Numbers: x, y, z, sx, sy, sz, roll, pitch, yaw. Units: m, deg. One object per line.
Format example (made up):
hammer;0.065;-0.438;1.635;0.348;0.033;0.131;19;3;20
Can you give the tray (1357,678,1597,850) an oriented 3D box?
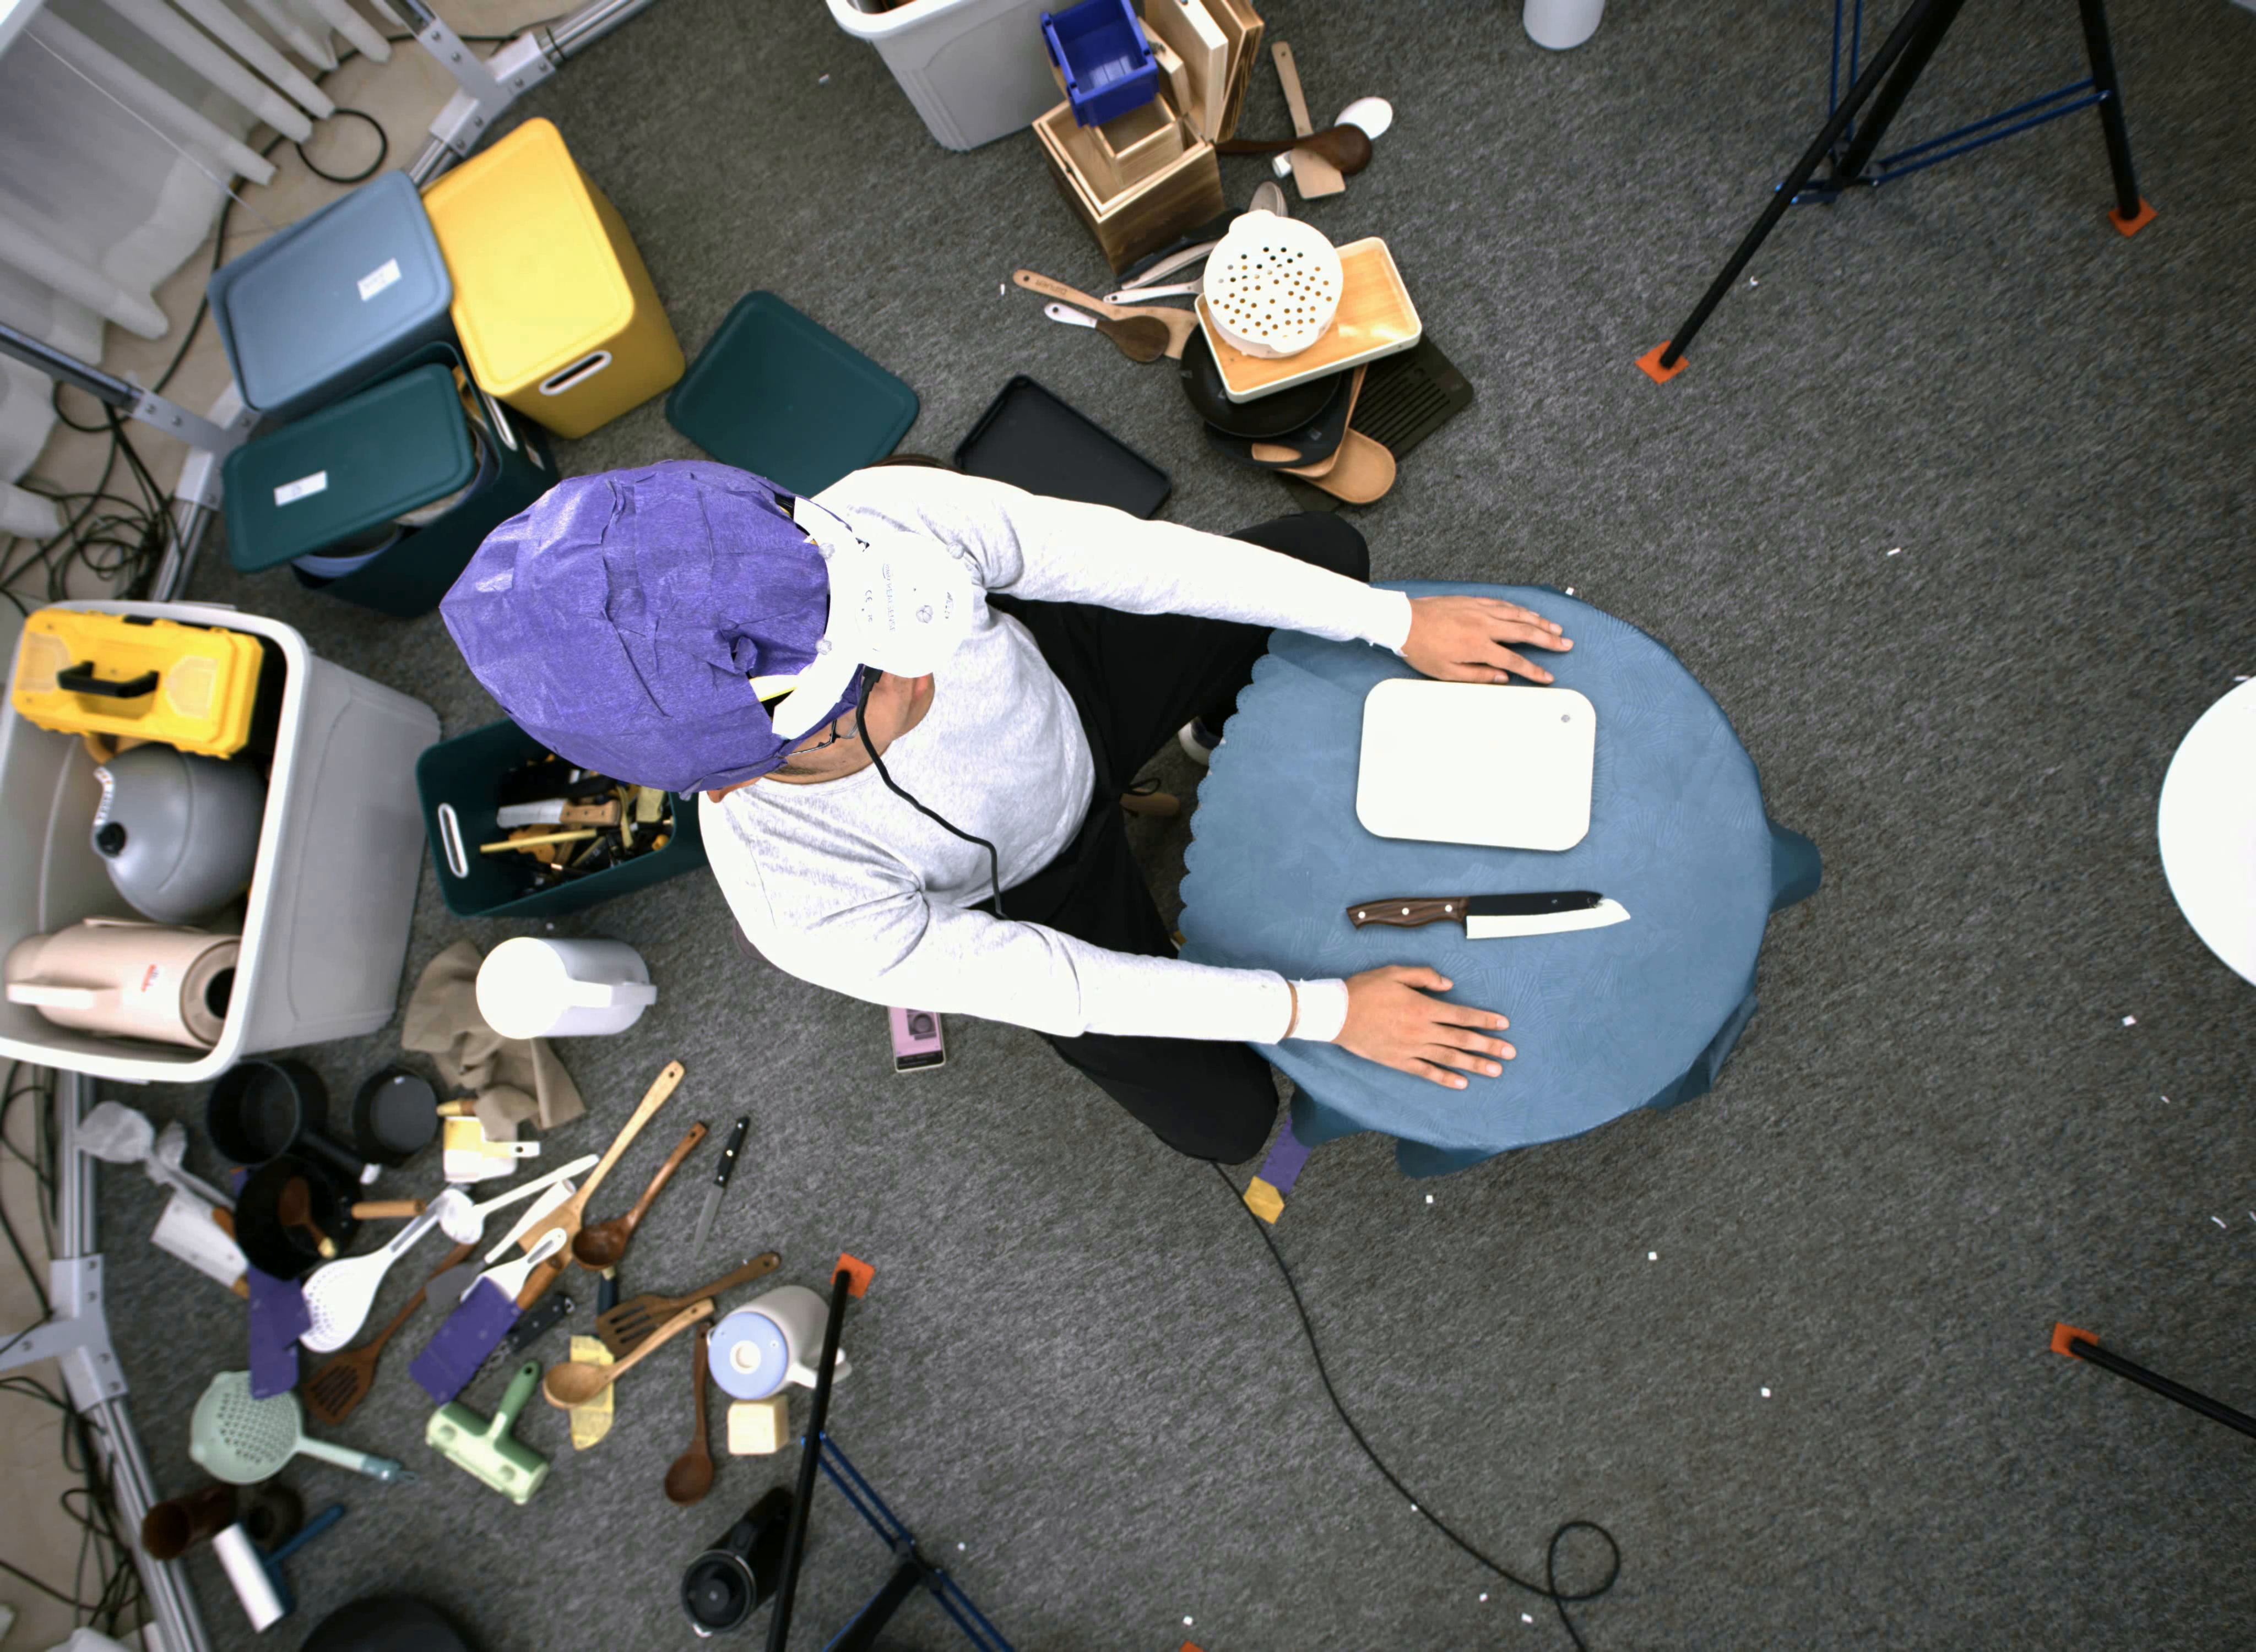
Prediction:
tray;0.365;-0.067;1.441;0.240;0.017;0.170;5;87;11

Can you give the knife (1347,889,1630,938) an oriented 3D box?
knife;0.374;0.089;1.432;0.290;0.020;0.050;-2;91;8
